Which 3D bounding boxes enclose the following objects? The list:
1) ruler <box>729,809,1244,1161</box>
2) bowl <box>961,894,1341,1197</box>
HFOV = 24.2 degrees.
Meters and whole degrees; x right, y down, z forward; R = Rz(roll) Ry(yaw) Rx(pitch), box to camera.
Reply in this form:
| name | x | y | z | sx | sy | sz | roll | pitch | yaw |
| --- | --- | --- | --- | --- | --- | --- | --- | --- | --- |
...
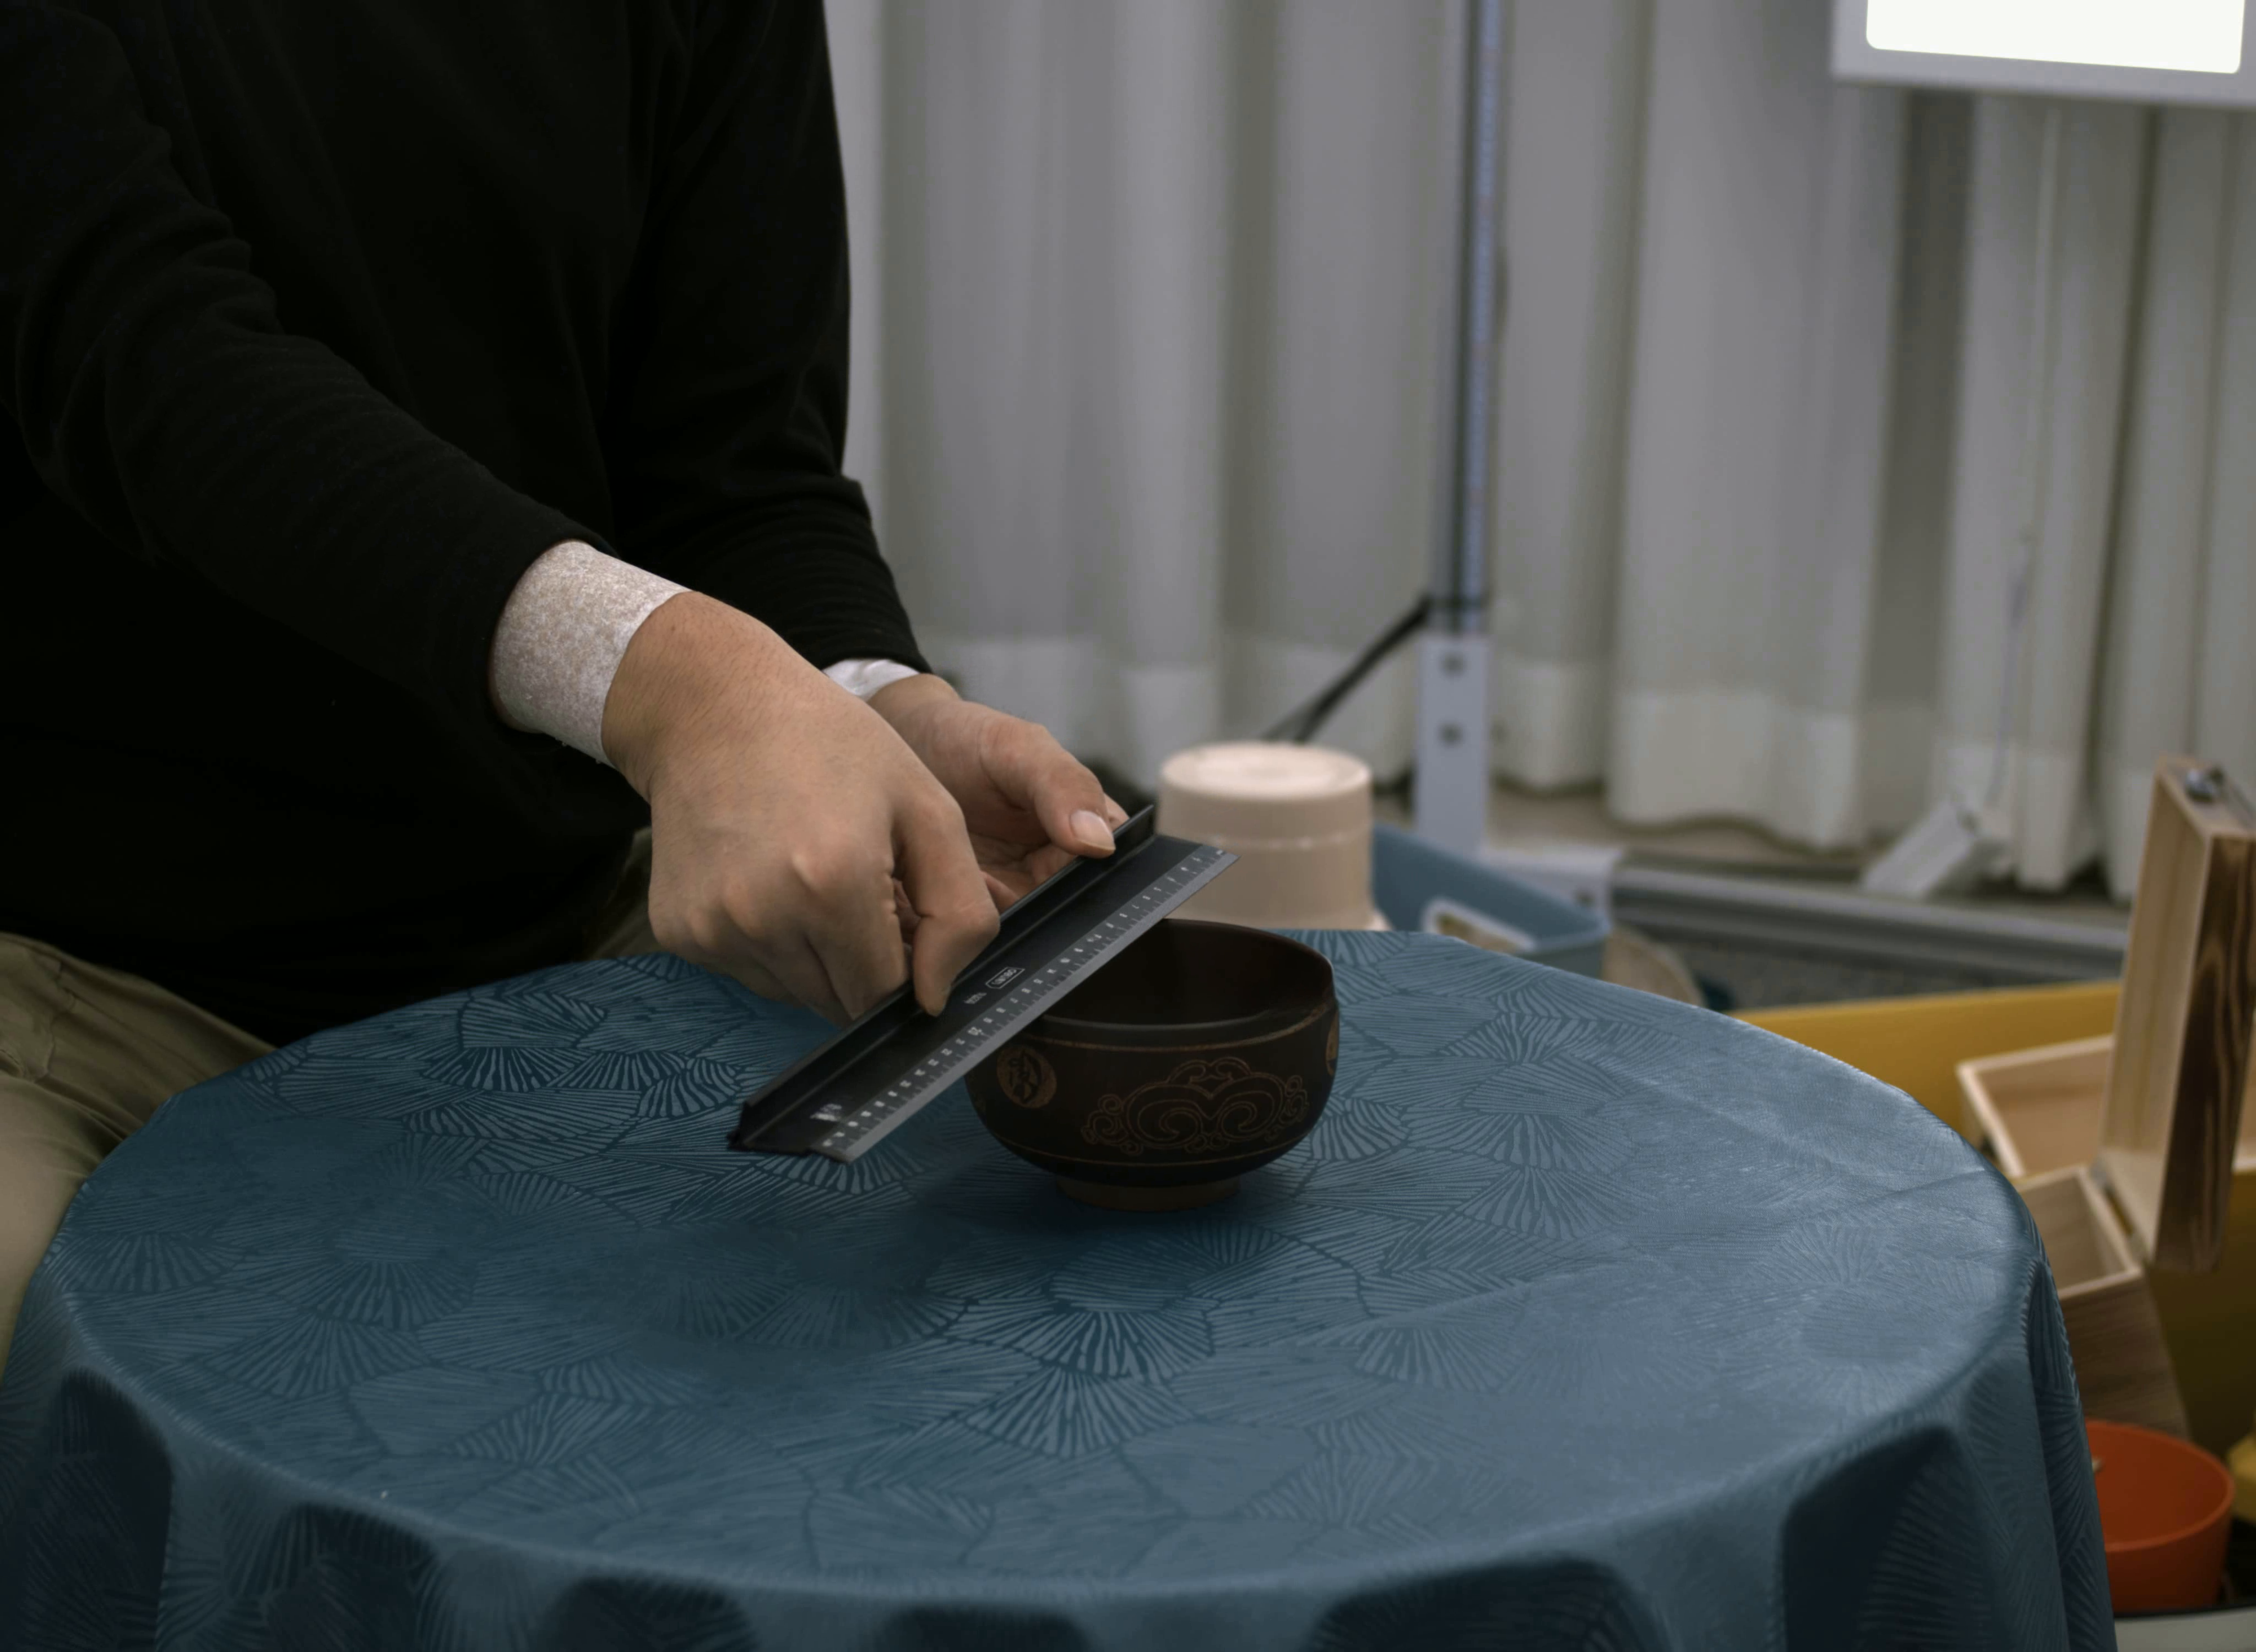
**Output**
| name | x | y | z | sx | sy | sz | roll | pitch | yaw |
| --- | --- | --- | --- | --- | --- | --- | --- | --- | --- |
| ruler | -0.036 | 0.043 | 1.583 | 0.039 | 0.017 | 0.313 | 9 | 19 | 20 |
| bowl | 0.005 | 0.072 | 1.618 | 0.118 | 0.070 | 0.117 | 5 | 18 | -1 |
